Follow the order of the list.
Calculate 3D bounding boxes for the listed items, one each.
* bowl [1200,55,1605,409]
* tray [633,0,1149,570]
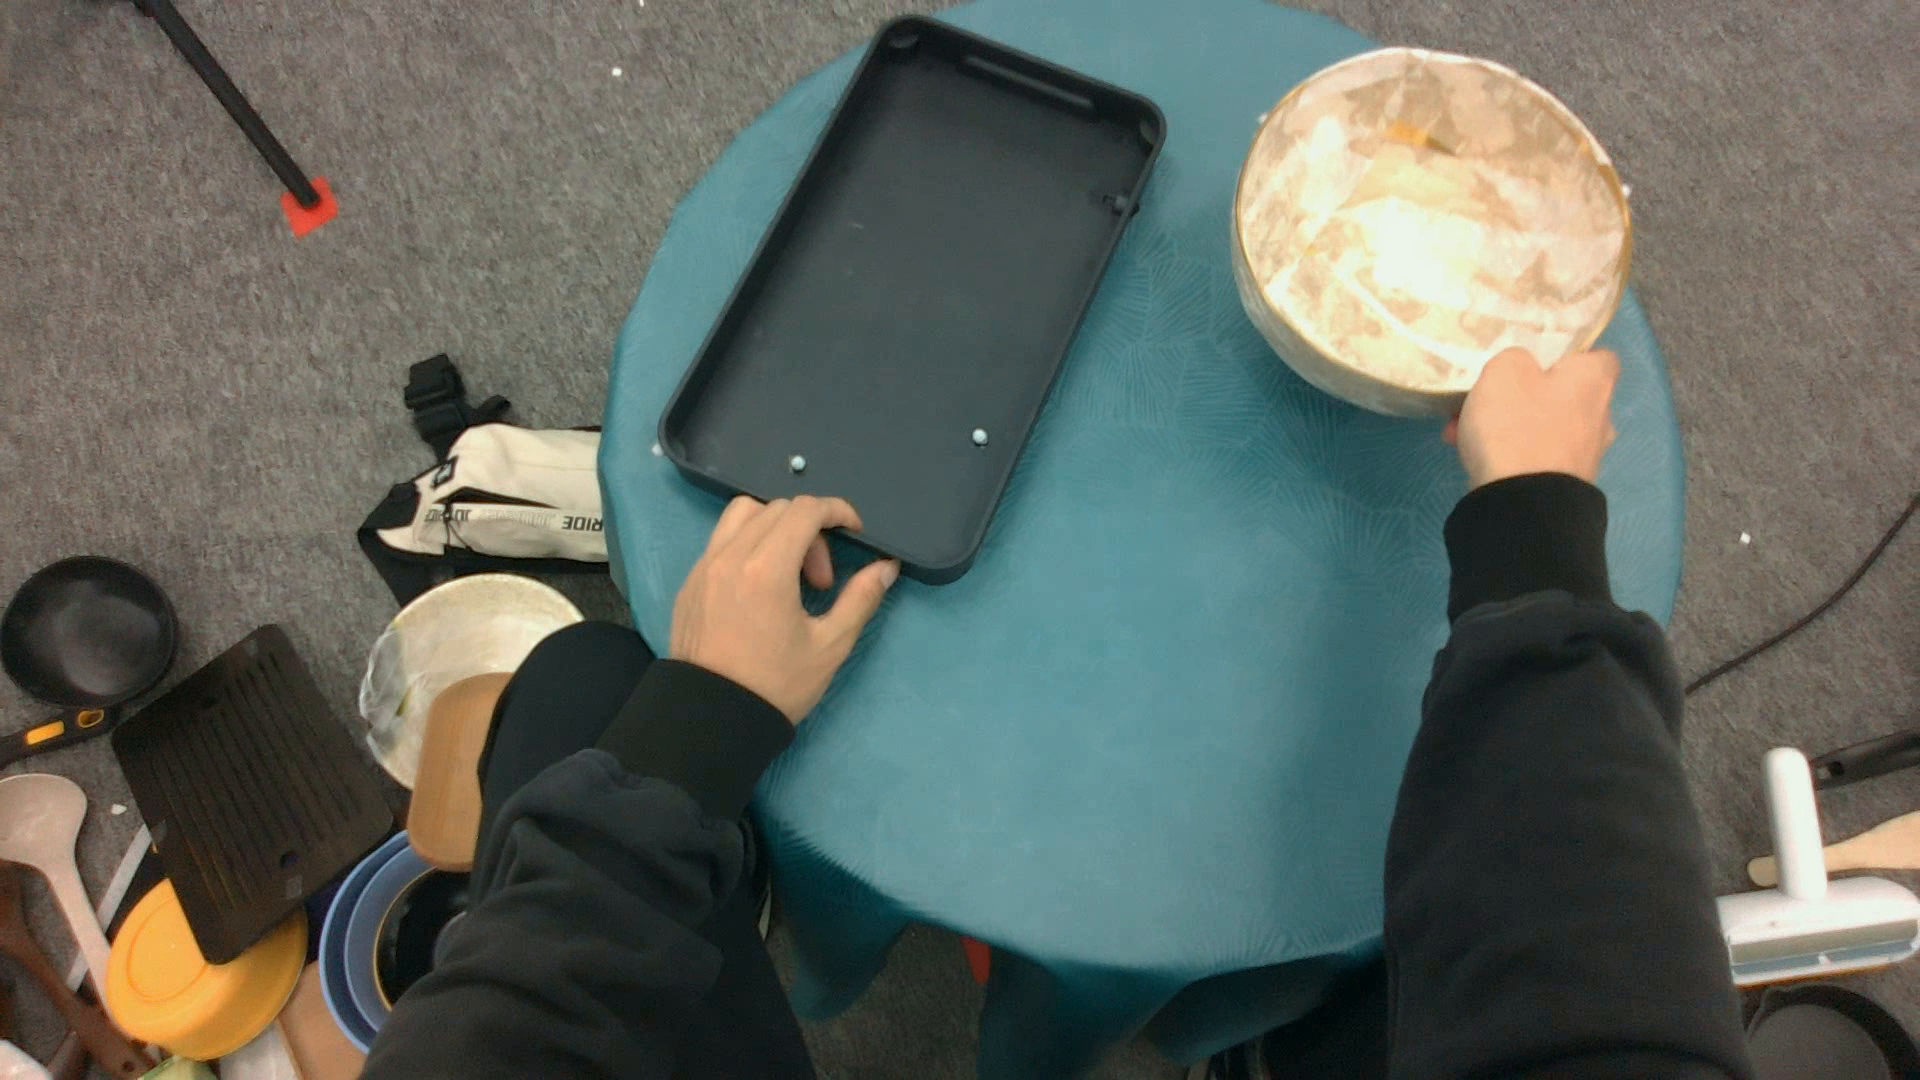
[{"bbox_3d":[0.222,-0.150,0.745,0.215,0.094,0.215,1,68,-3],"label":"bowl"},{"bbox_3d":[-0.032,-0.151,0.775,0.184,0.037,0.319,24,71,5],"label":"tray"}]
